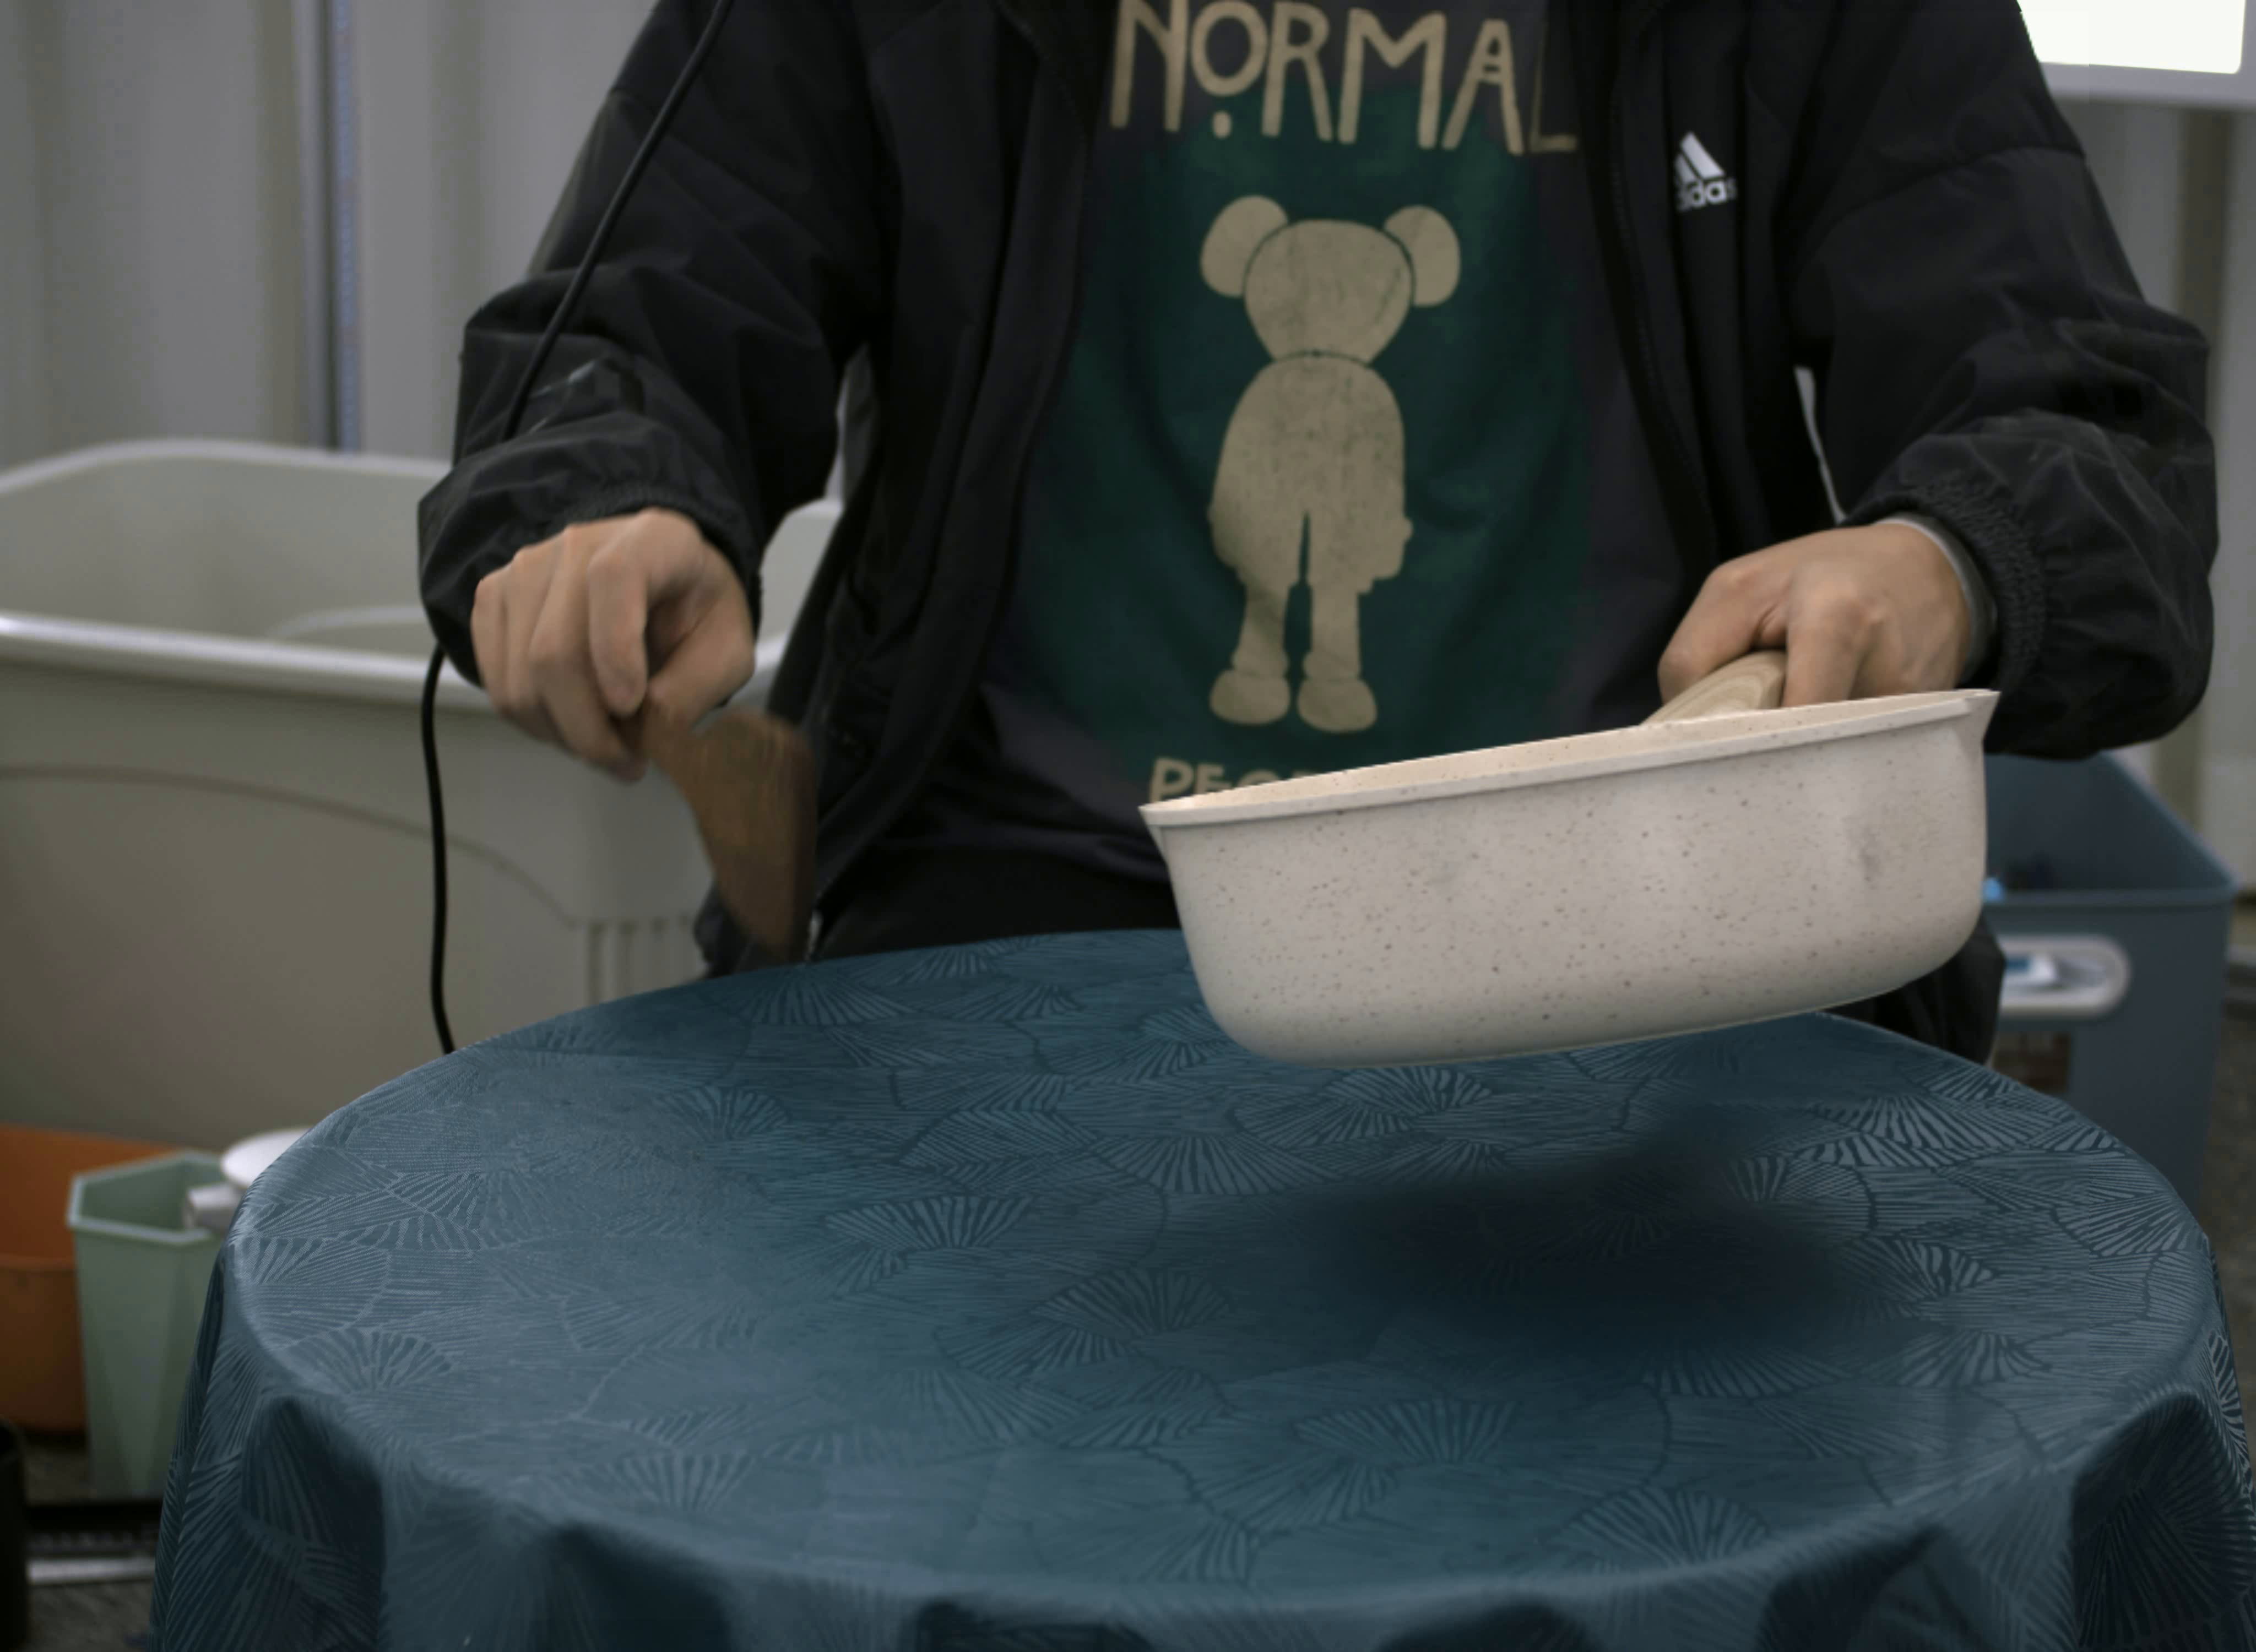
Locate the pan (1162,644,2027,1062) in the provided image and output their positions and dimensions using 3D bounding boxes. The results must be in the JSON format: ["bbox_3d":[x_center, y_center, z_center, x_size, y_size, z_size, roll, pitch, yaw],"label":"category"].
[{"bbox_3d":[0.172,0.001,1.634,0.261,0.102,0.437,-9,1,21],"label":"pan"}]

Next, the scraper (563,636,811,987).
[{"bbox_3d":[-0.147,-0.017,1.713,0.011,0.076,0.208,-6,23,-25],"label":"scraper"}]
